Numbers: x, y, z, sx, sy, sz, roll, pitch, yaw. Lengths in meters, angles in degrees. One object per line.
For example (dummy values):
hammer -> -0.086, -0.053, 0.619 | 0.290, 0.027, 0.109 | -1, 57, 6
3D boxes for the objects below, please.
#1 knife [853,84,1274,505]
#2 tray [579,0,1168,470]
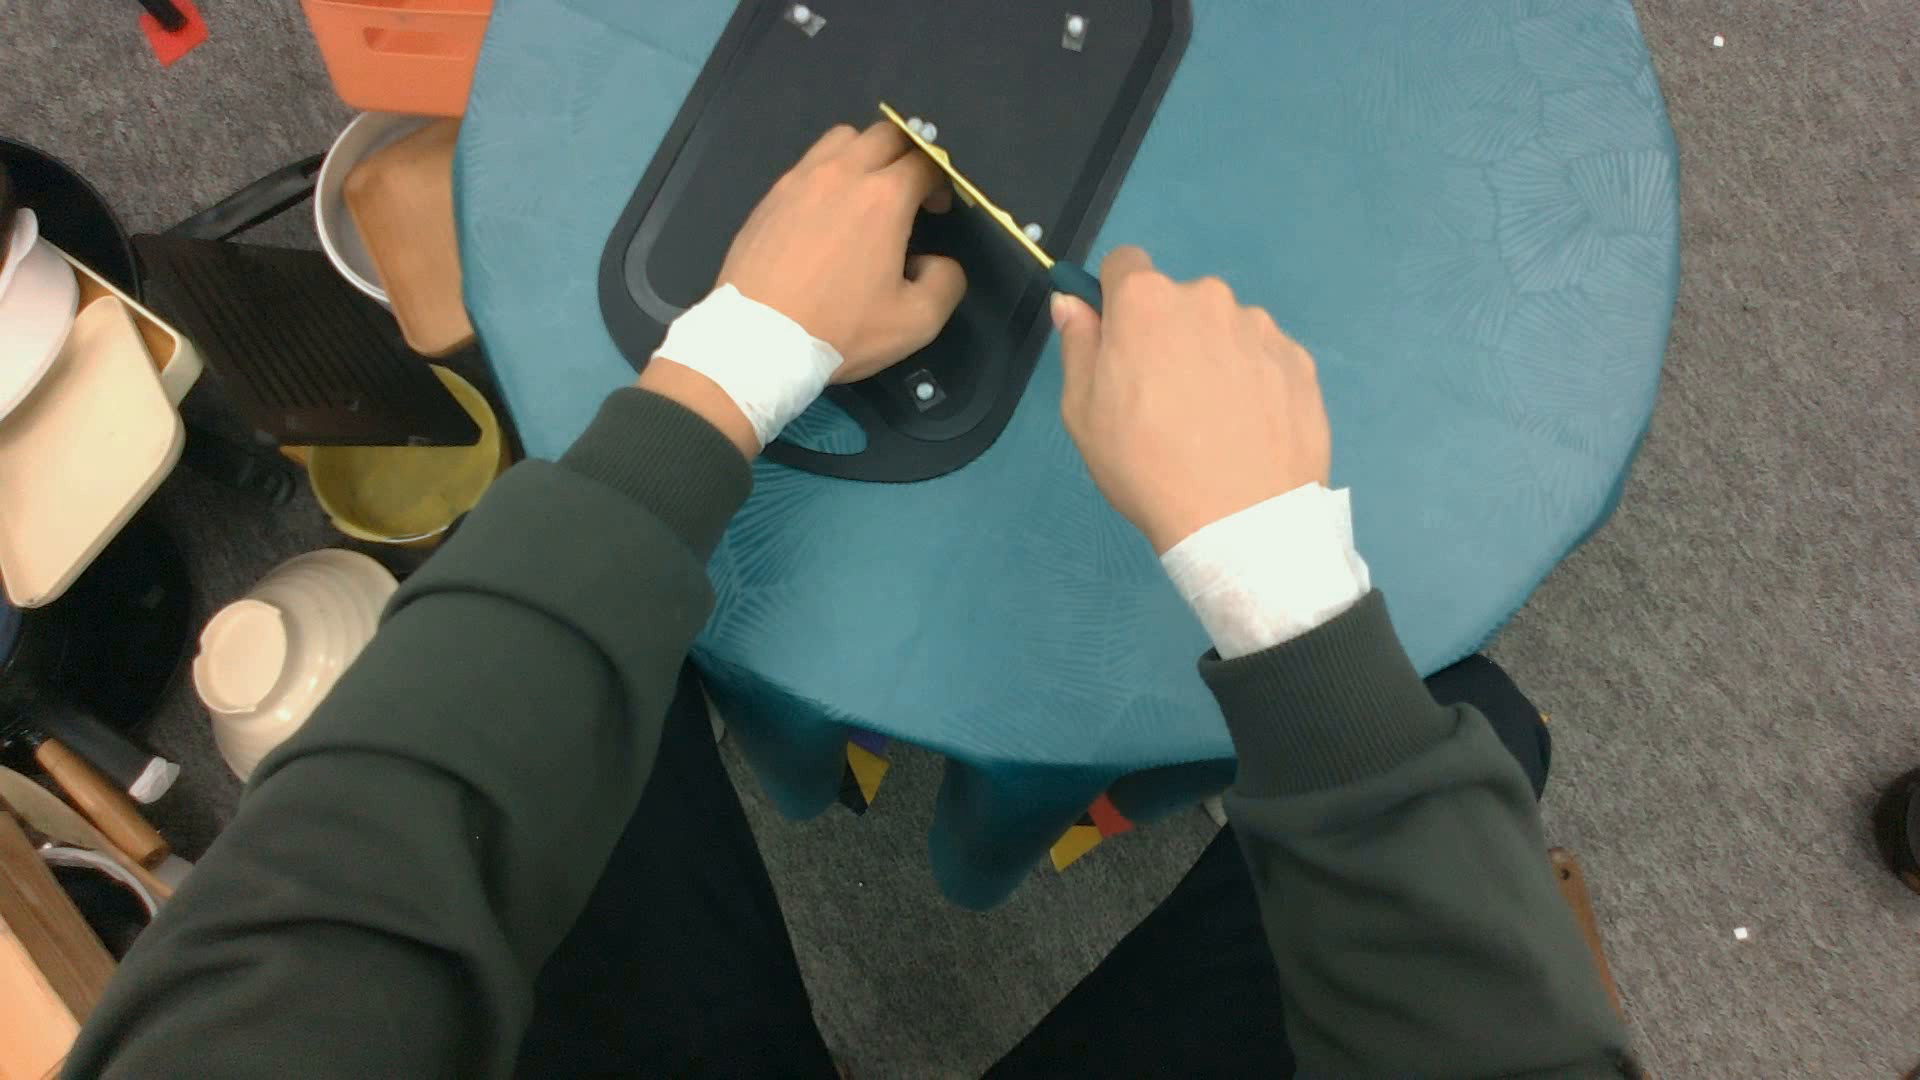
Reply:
knife -> 0.036, -0.115, 0.589 | 0.027, 0.081, 0.290 | -46, 61, 12
tray -> -0.040, -0.192, 0.670 | 0.211, 0.010, 0.326 | 24, 77, 2
